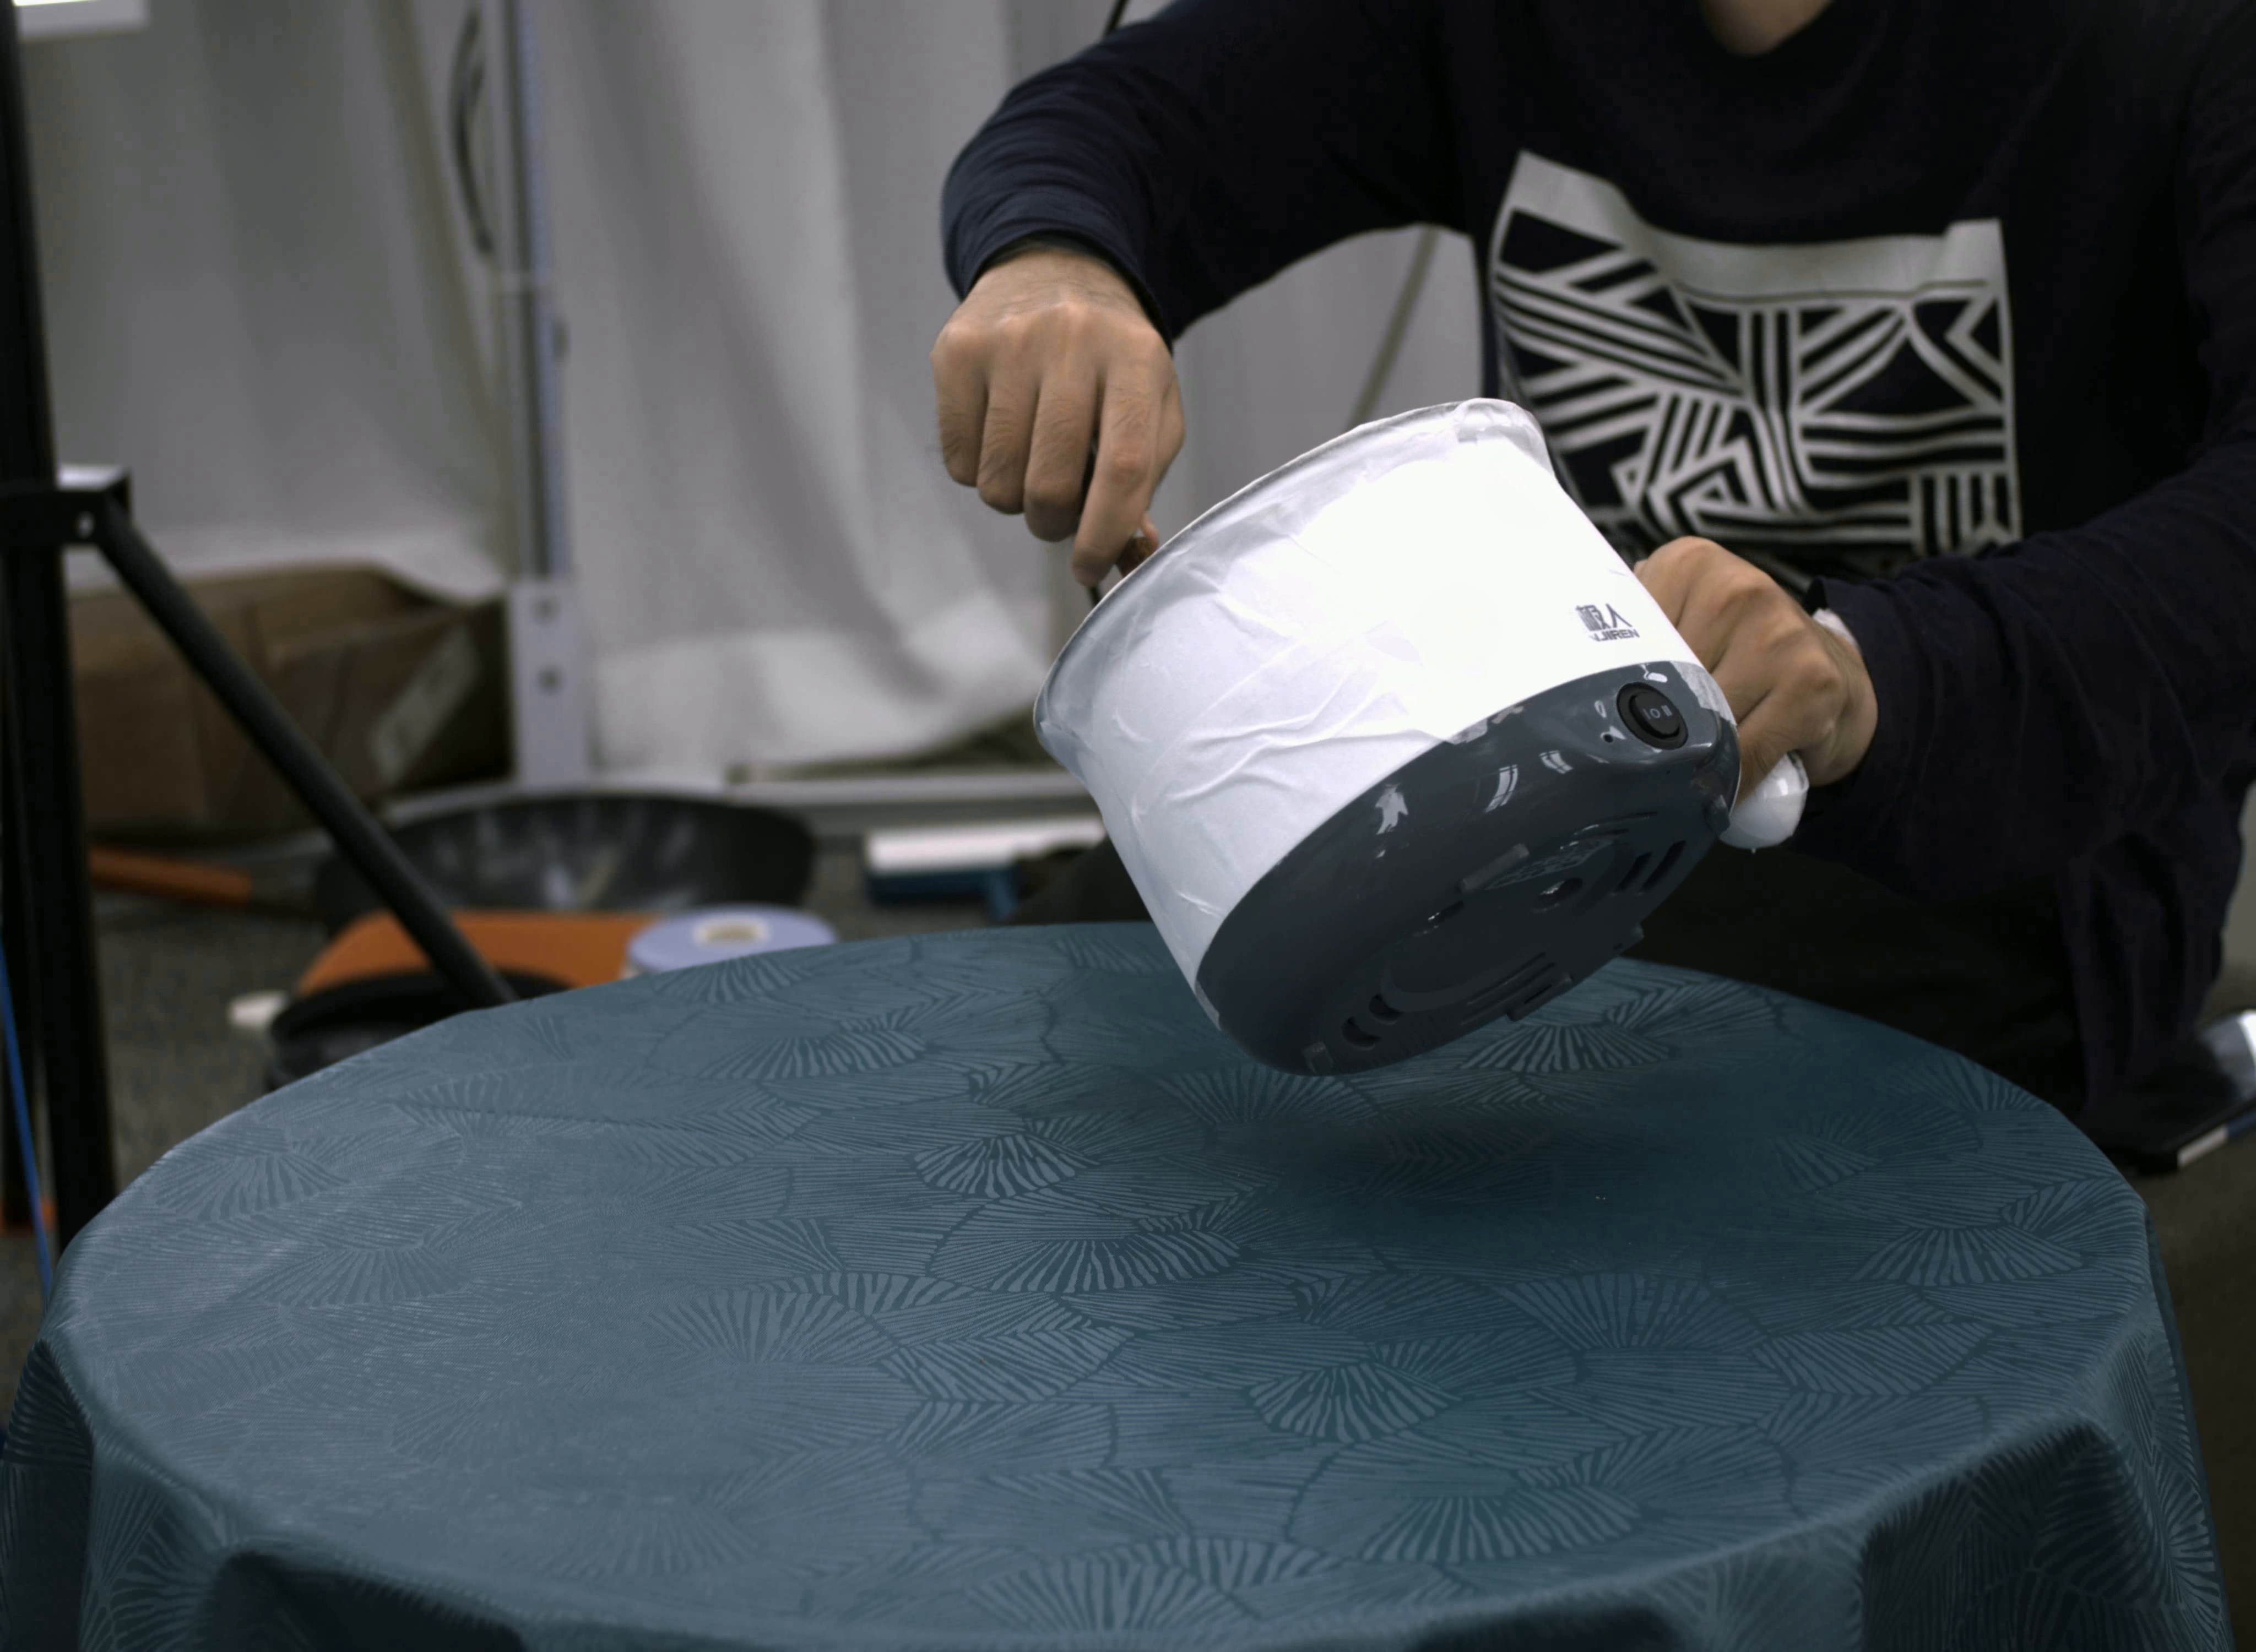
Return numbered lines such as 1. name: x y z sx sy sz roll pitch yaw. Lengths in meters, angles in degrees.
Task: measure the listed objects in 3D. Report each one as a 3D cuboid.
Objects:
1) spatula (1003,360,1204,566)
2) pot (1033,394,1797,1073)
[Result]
1. spatula: 0.008 -0.089 1.654 0.009 0.070 0.220 -35 41 -4
2. pot: 0.099 -0.025 1.579 0.228 0.138 0.180 -12 -25 -44
